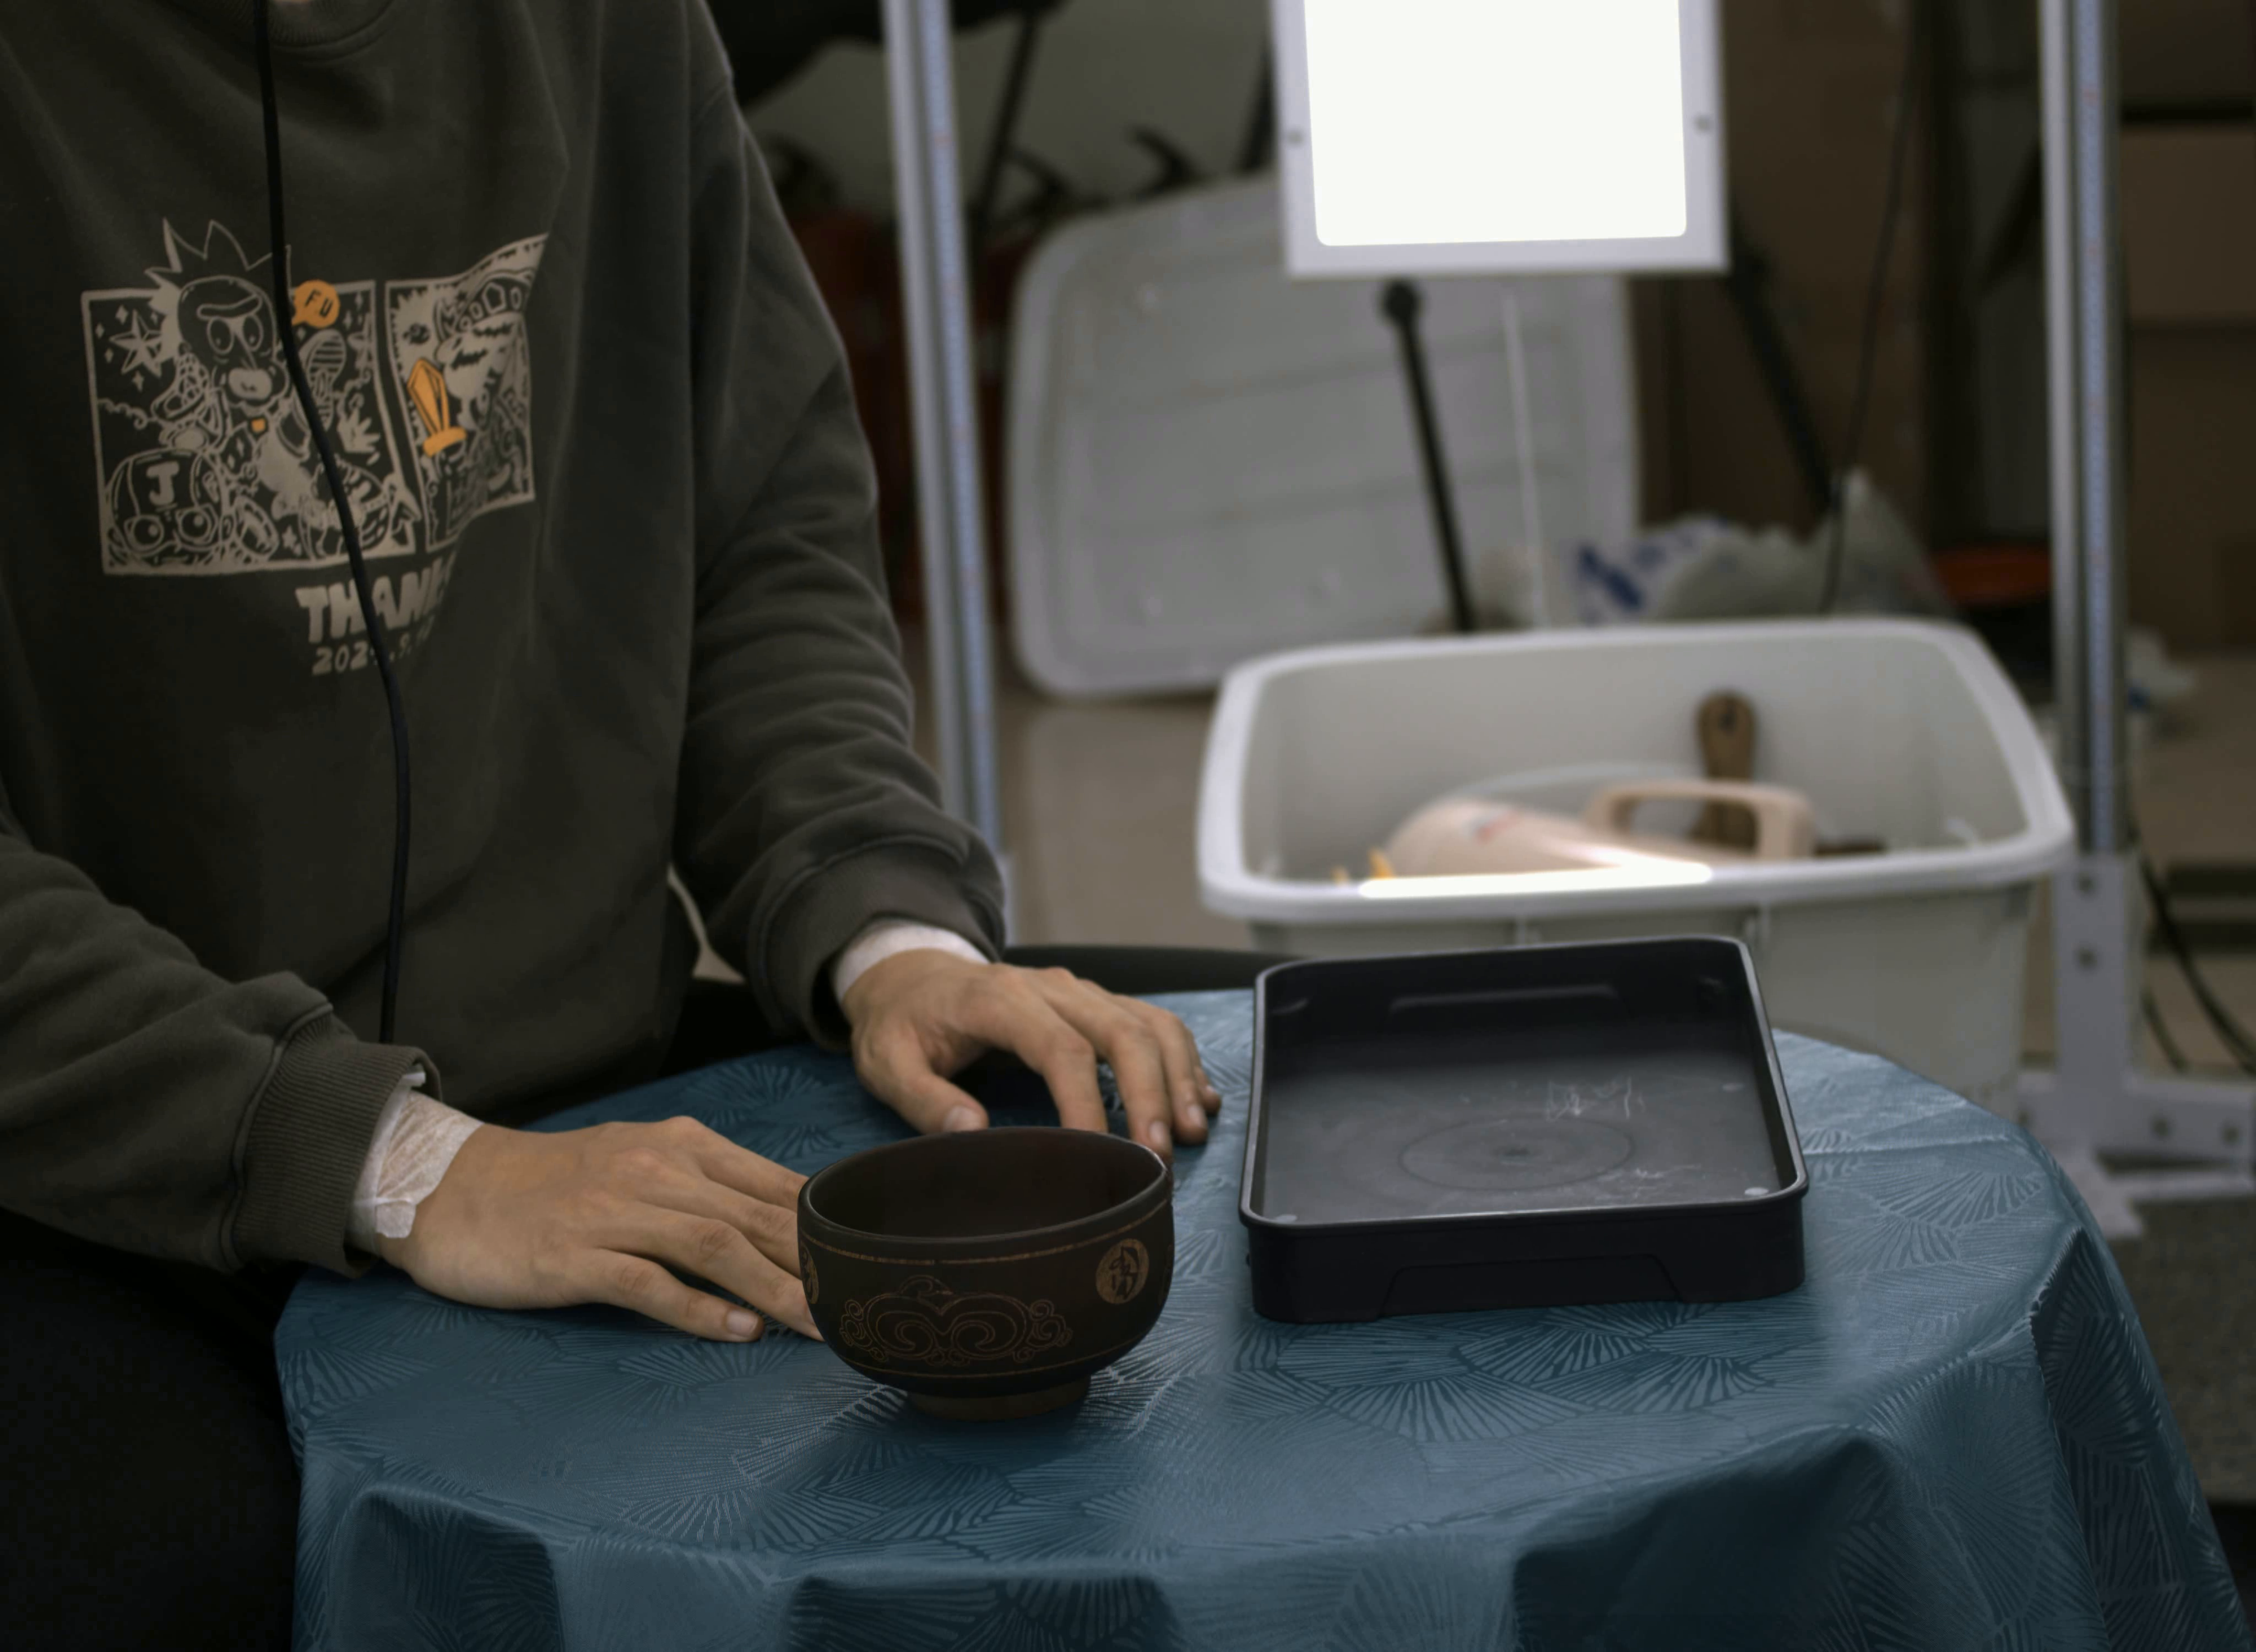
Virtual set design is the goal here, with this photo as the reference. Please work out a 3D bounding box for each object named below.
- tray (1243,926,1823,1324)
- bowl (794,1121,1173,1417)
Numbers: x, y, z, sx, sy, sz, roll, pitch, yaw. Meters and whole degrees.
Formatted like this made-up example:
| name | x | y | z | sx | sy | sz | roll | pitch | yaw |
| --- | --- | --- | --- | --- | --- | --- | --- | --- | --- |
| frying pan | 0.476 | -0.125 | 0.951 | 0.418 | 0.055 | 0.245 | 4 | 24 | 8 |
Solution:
| name | x | y | z | sx | sy | sz | roll | pitch | yaw |
| --- | --- | --- | --- | --- | --- | --- | --- | --- | --- |
| tray | 0.134 | 0.098 | 1.889 | 0.184 | 0.037 | 0.317 | -5 | 14 | 3 |
| bowl | -0.043 | 0.141 | 1.705 | 0.118 | 0.070 | 0.118 | -6 | 13 | 0 |
